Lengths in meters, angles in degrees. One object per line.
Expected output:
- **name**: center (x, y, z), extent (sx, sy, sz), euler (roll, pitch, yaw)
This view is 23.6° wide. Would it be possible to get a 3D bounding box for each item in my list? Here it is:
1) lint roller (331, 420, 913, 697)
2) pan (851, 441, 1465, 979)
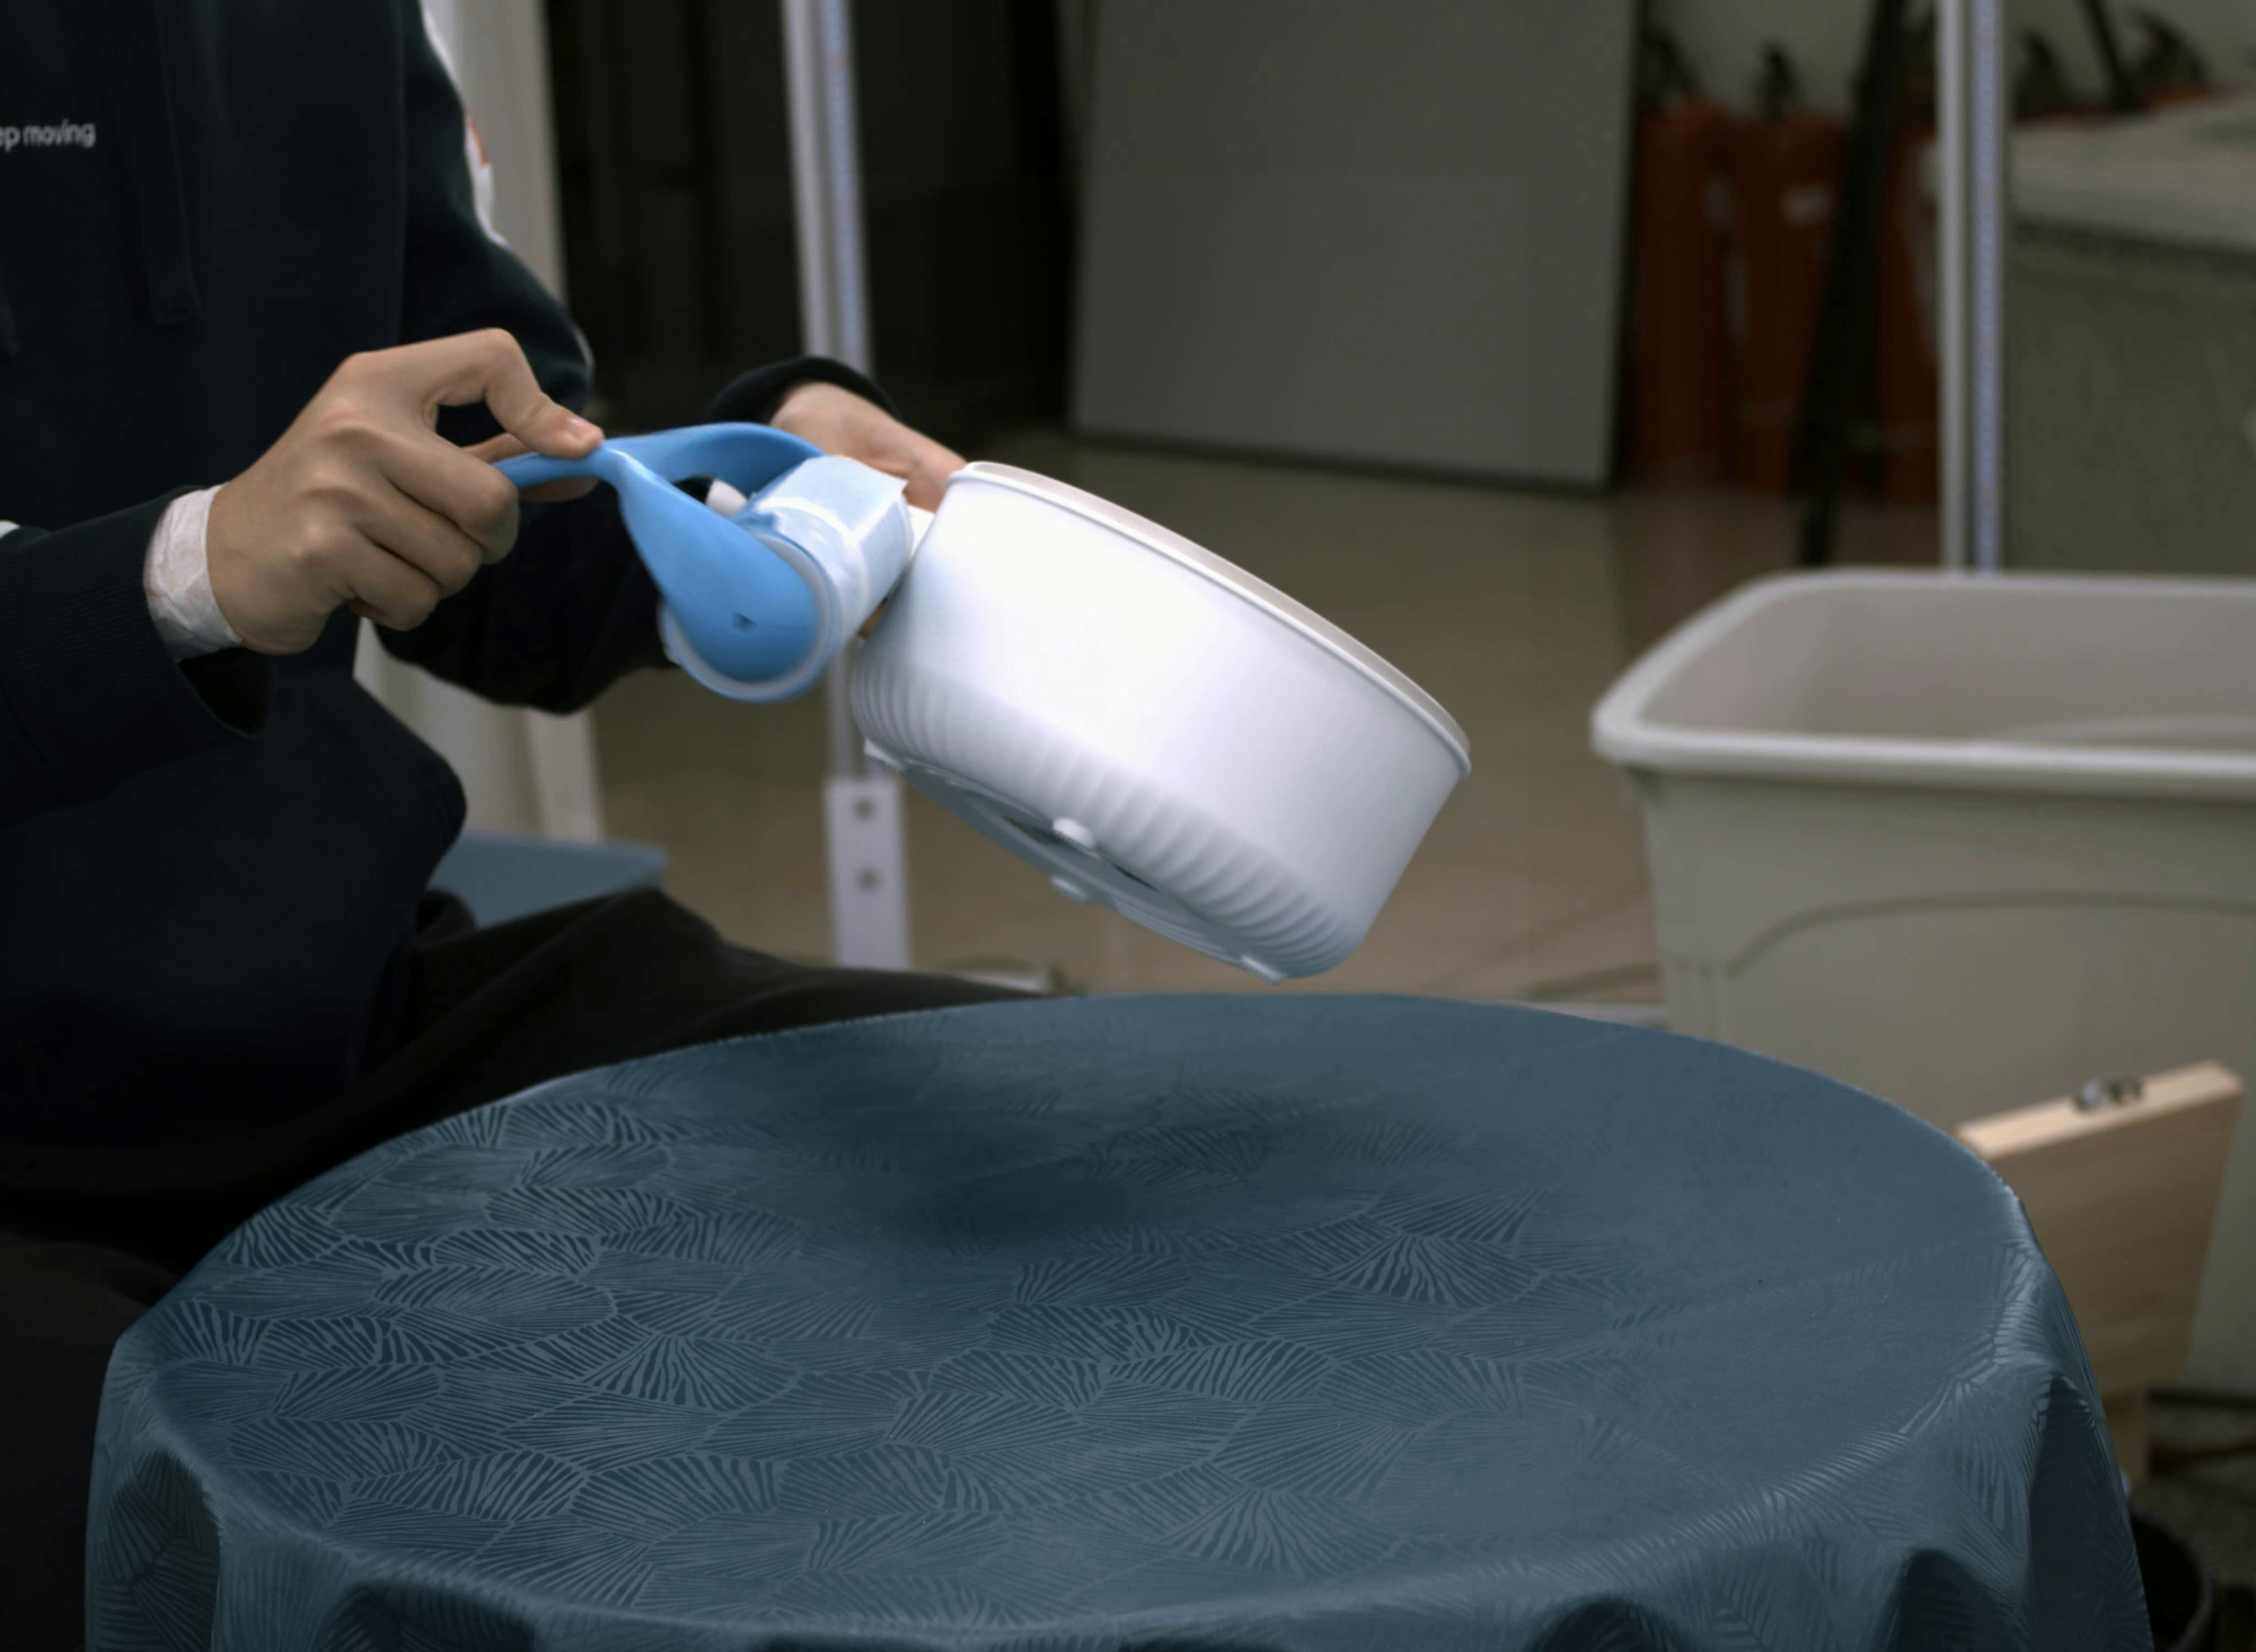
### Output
- **lint roller**: center (-0.159, -0.089, 1.699), extent (0.178, 0.069, 0.229), euler (6, 11, 0)
- **pan**: center (-0.042, -0.049, 1.854), extent (0.198, 0.102, 0.358), euler (38, -11, -39)
